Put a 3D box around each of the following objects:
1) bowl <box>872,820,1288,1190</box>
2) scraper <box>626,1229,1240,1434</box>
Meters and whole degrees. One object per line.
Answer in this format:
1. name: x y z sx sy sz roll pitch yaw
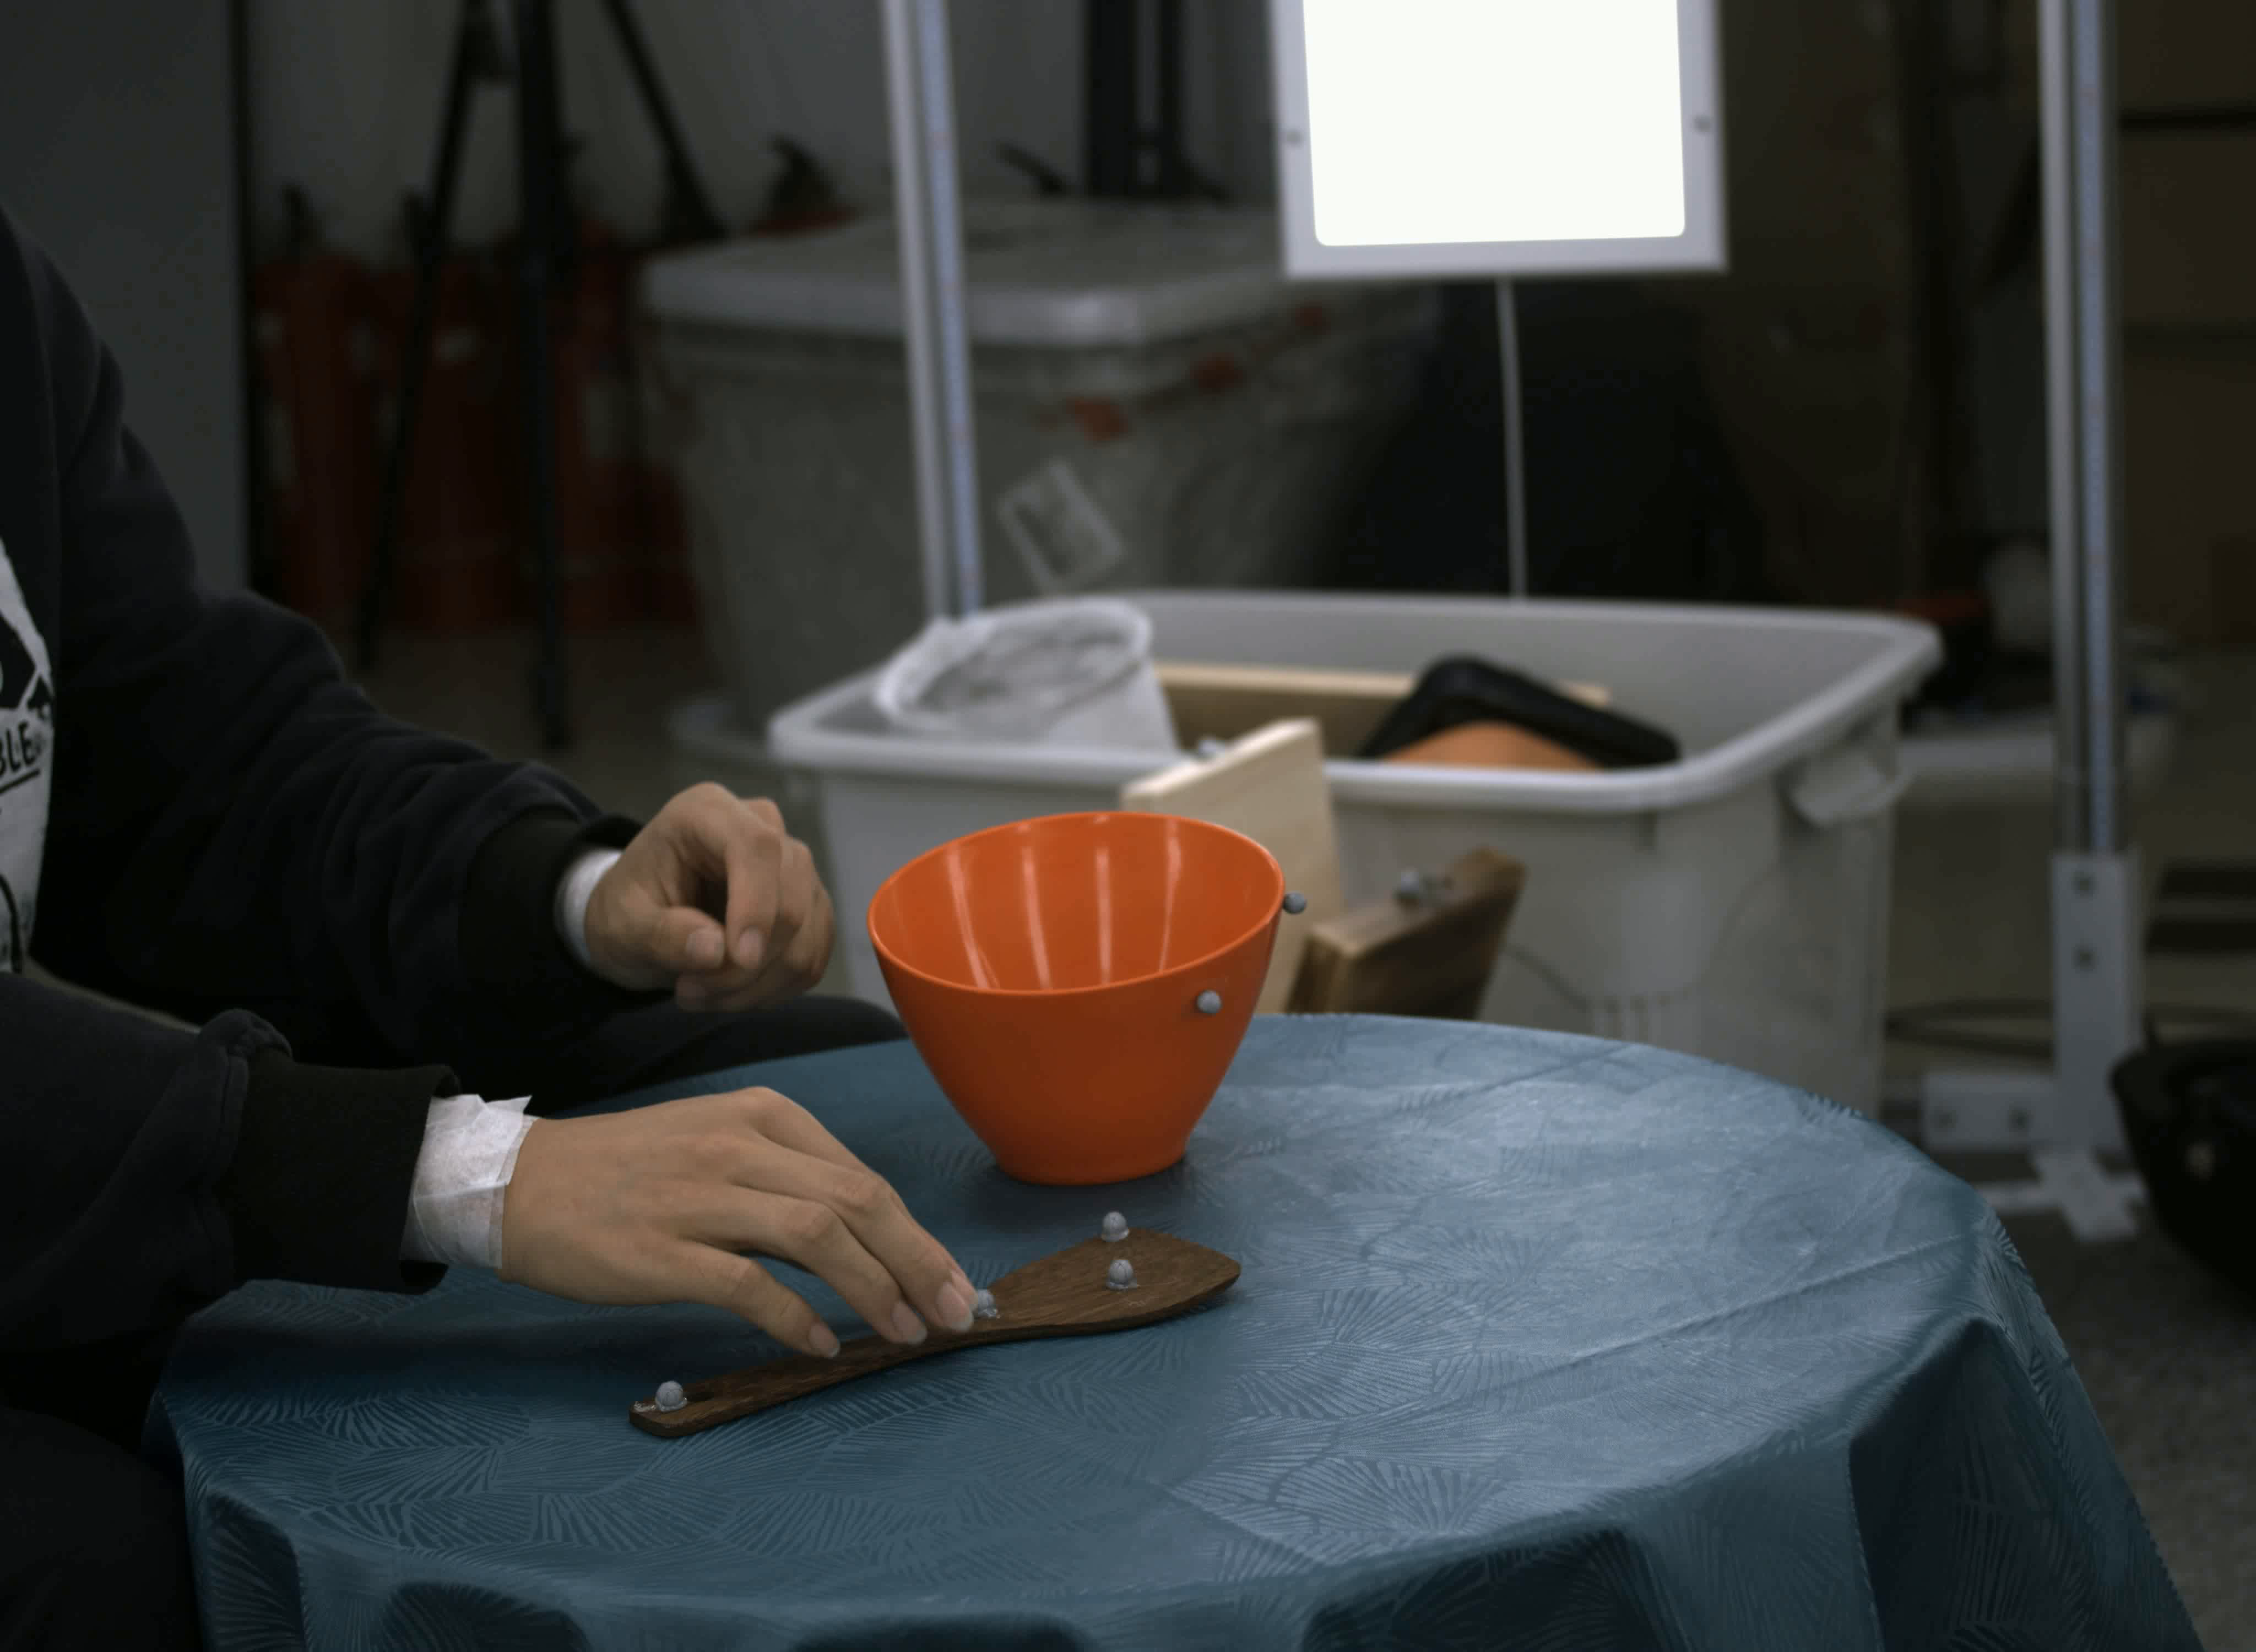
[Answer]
1. bowl: -0.014 0.066 1.938 0.147 0.105 0.148 -4 14 0
2. scraper: -0.064 0.163 1.755 0.206 0.011 0.077 -14 15 -30
